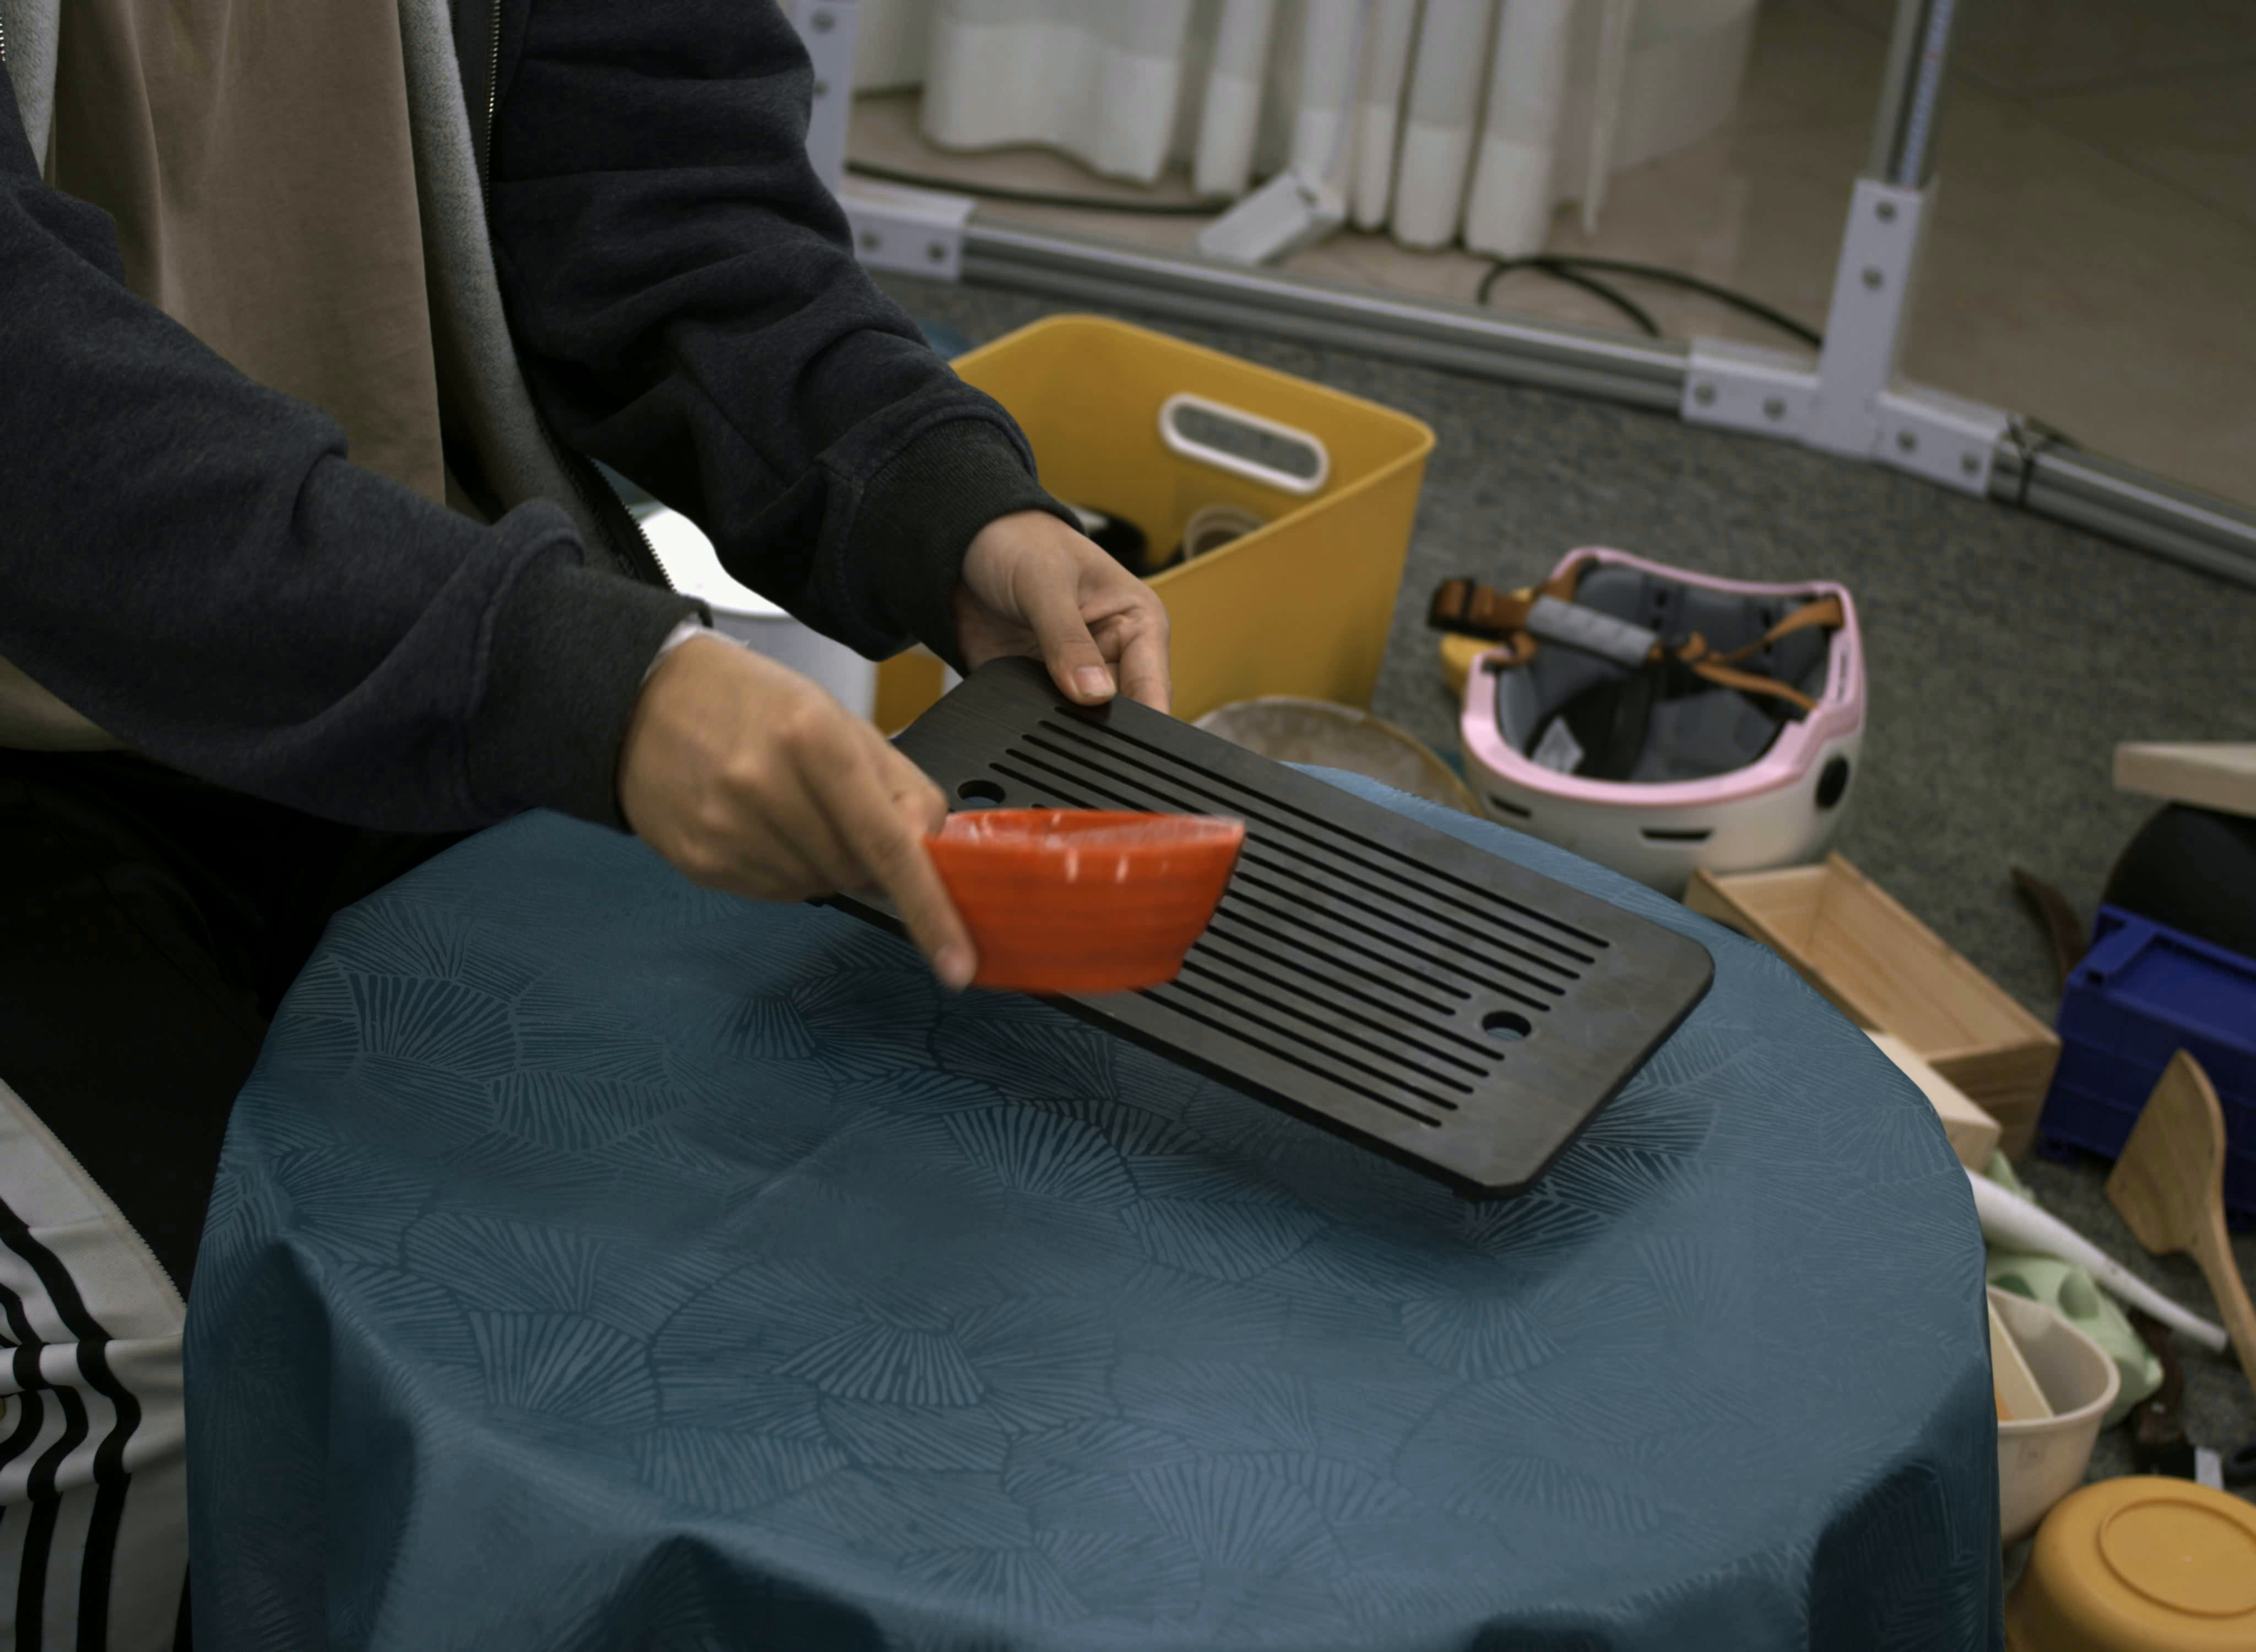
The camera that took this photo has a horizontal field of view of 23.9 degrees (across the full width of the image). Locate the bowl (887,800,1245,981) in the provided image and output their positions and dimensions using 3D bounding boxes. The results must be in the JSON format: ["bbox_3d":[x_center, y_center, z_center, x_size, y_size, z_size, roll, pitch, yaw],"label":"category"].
[{"bbox_3d":[-0.020,0.021,1.726,0.118,0.051,0.119,0,5,0],"label":"bowl"}]

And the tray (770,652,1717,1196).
[{"bbox_3d":[0.040,0.032,1.883,0.307,0.018,0.170,23,38,22],"label":"tray"}]
